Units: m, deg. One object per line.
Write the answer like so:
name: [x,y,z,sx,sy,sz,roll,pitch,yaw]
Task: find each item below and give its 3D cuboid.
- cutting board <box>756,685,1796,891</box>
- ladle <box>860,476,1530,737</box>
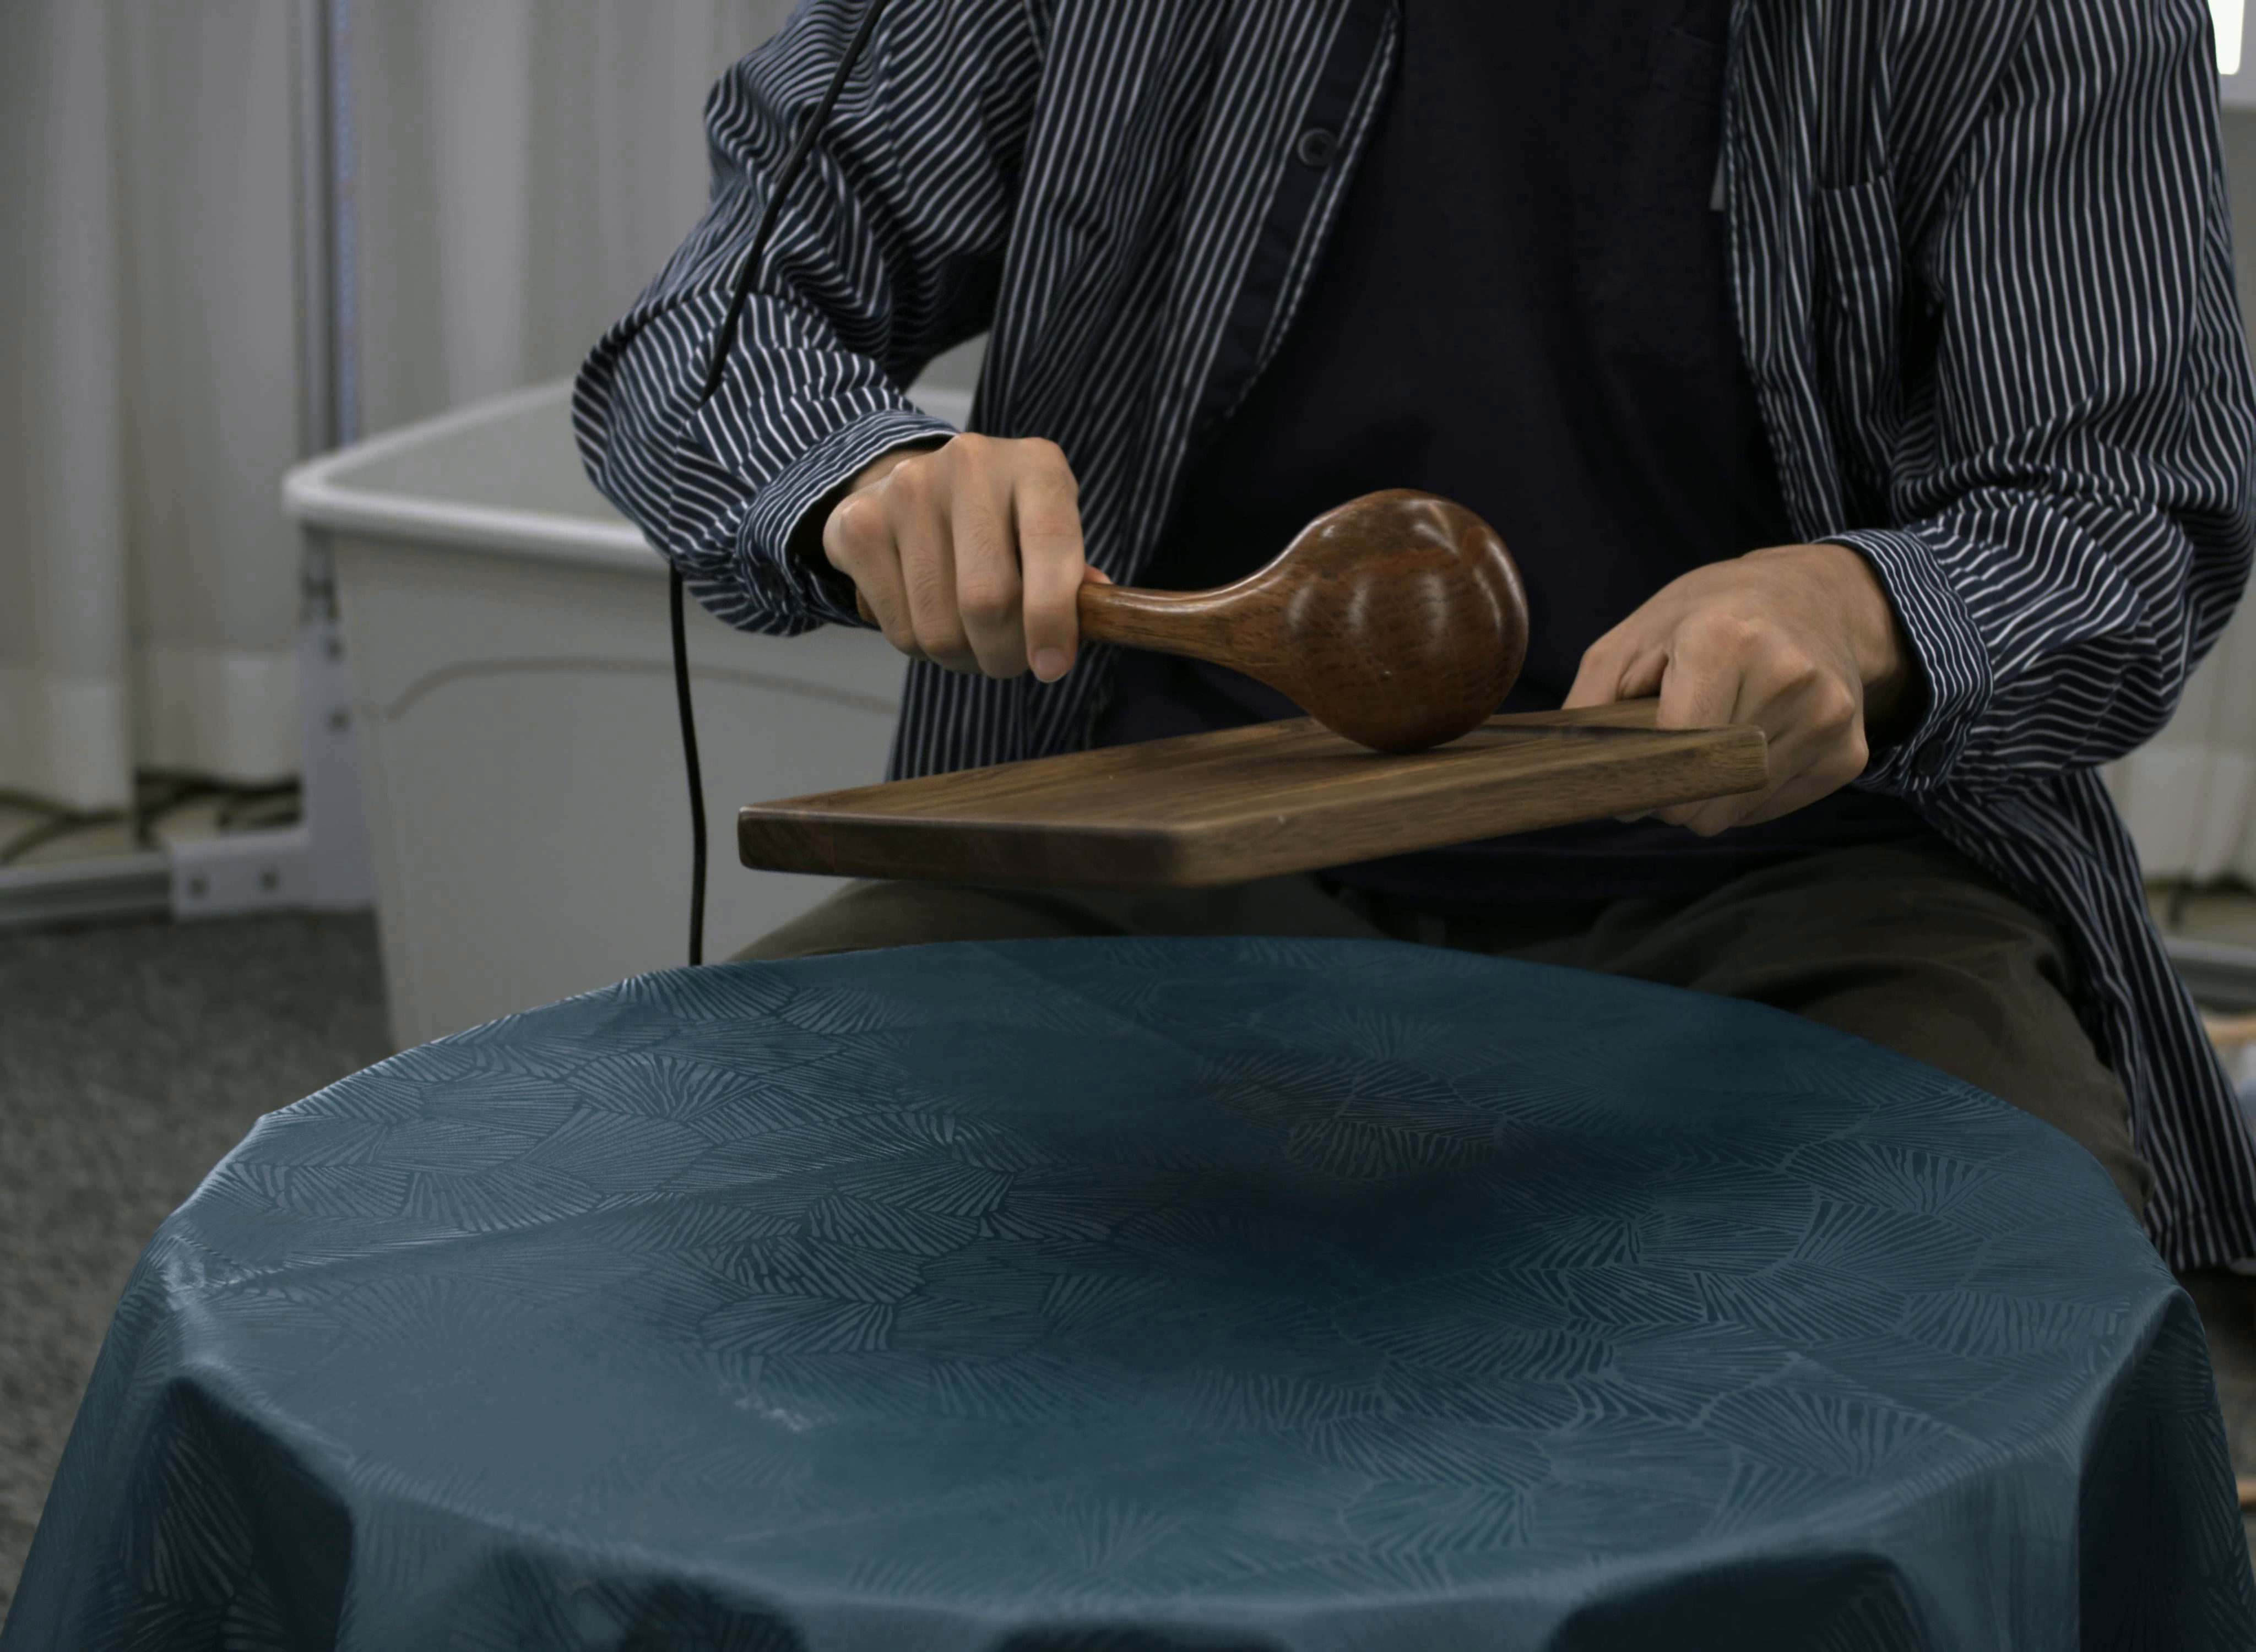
cutting board: [0.081,-0.015,1.592,0.354,0.023,0.199,-9,8,-42]
ladle: [0.020,-0.072,1.695,0.077,0.082,0.271,-4,6,-37]
